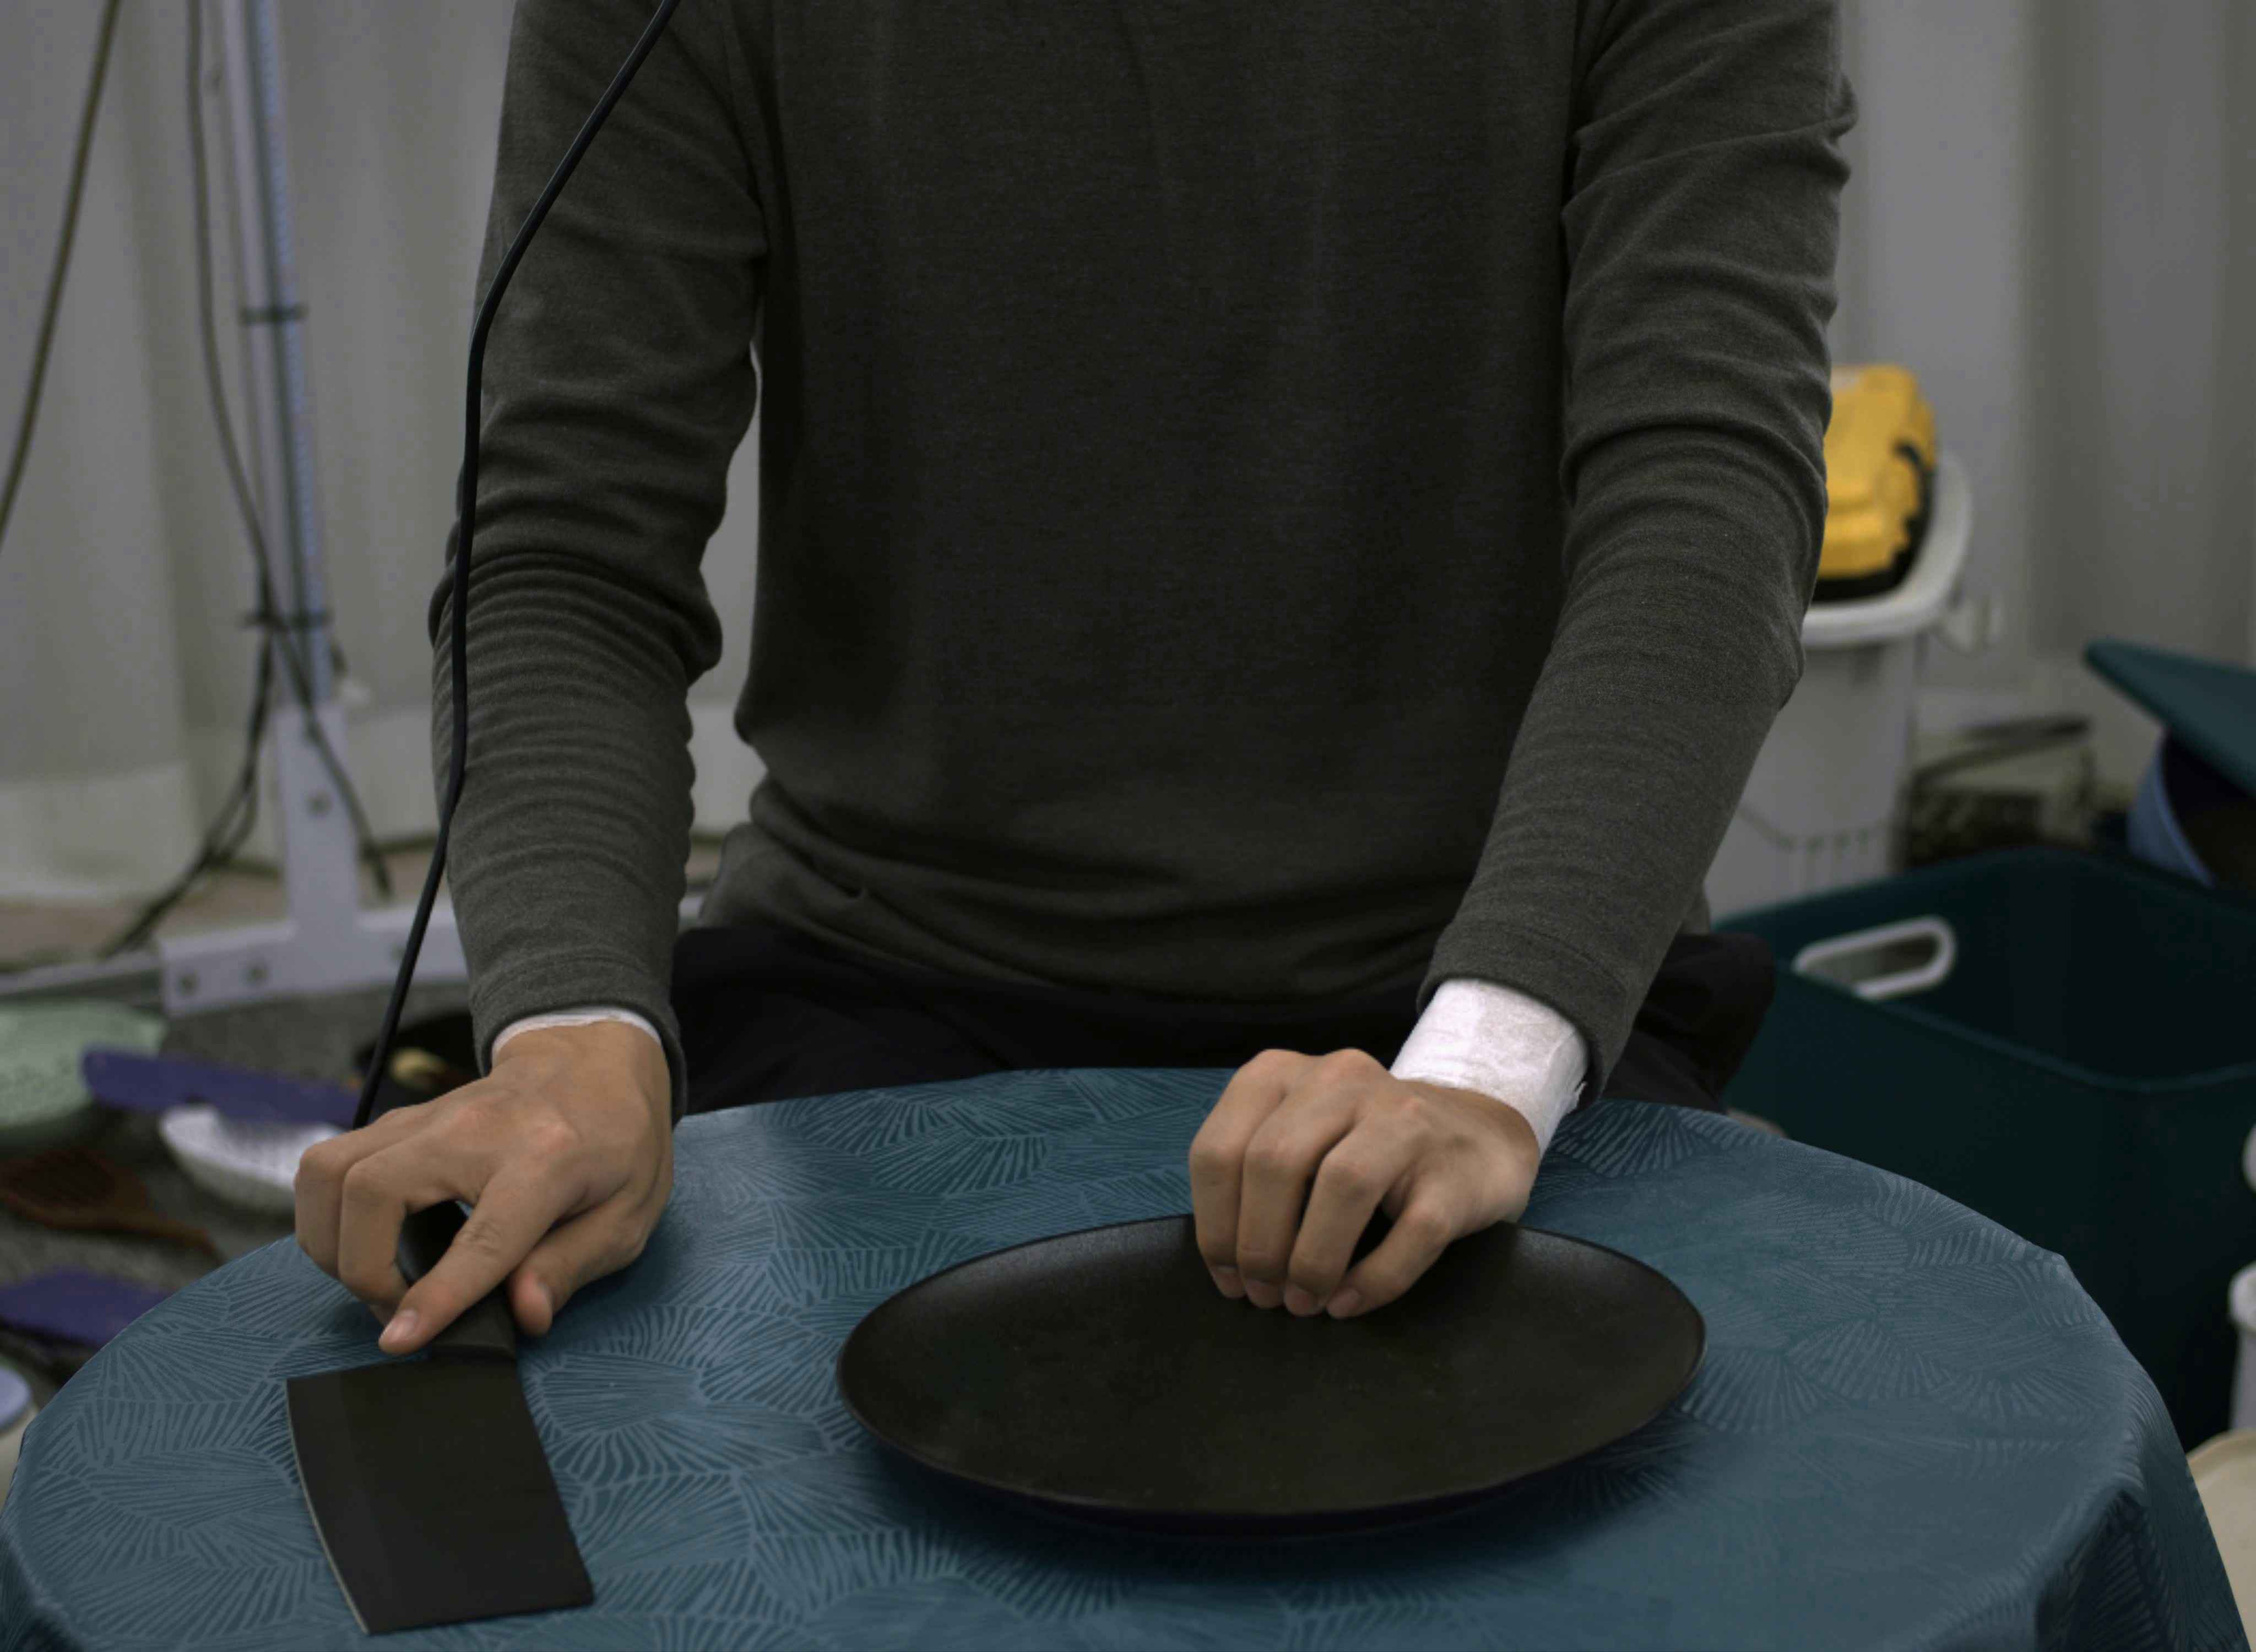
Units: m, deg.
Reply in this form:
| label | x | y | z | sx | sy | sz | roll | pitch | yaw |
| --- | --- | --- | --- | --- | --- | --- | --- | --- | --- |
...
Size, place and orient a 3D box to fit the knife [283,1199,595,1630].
| label | x | y | z | sx | sy | sz | roll | pitch | yaw |
| --- | --- | --- | --- | --- | --- | --- | --- | --- | --- |
| knife | -0.199 | 0.164 | 1.547 | 0.080 | 0.021 | 0.305 | -8 | 17 | -7 |

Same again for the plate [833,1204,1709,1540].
| label | x | y | z | sx | sy | sz | roll | pitch | yaw |
| --- | --- | --- | --- | --- | --- | --- | --- | --- | --- |
| plate | 0.040 | 0.154 | 1.517 | 0.243 | 0.023 | 0.246 | -3 | 15 | 0 |
